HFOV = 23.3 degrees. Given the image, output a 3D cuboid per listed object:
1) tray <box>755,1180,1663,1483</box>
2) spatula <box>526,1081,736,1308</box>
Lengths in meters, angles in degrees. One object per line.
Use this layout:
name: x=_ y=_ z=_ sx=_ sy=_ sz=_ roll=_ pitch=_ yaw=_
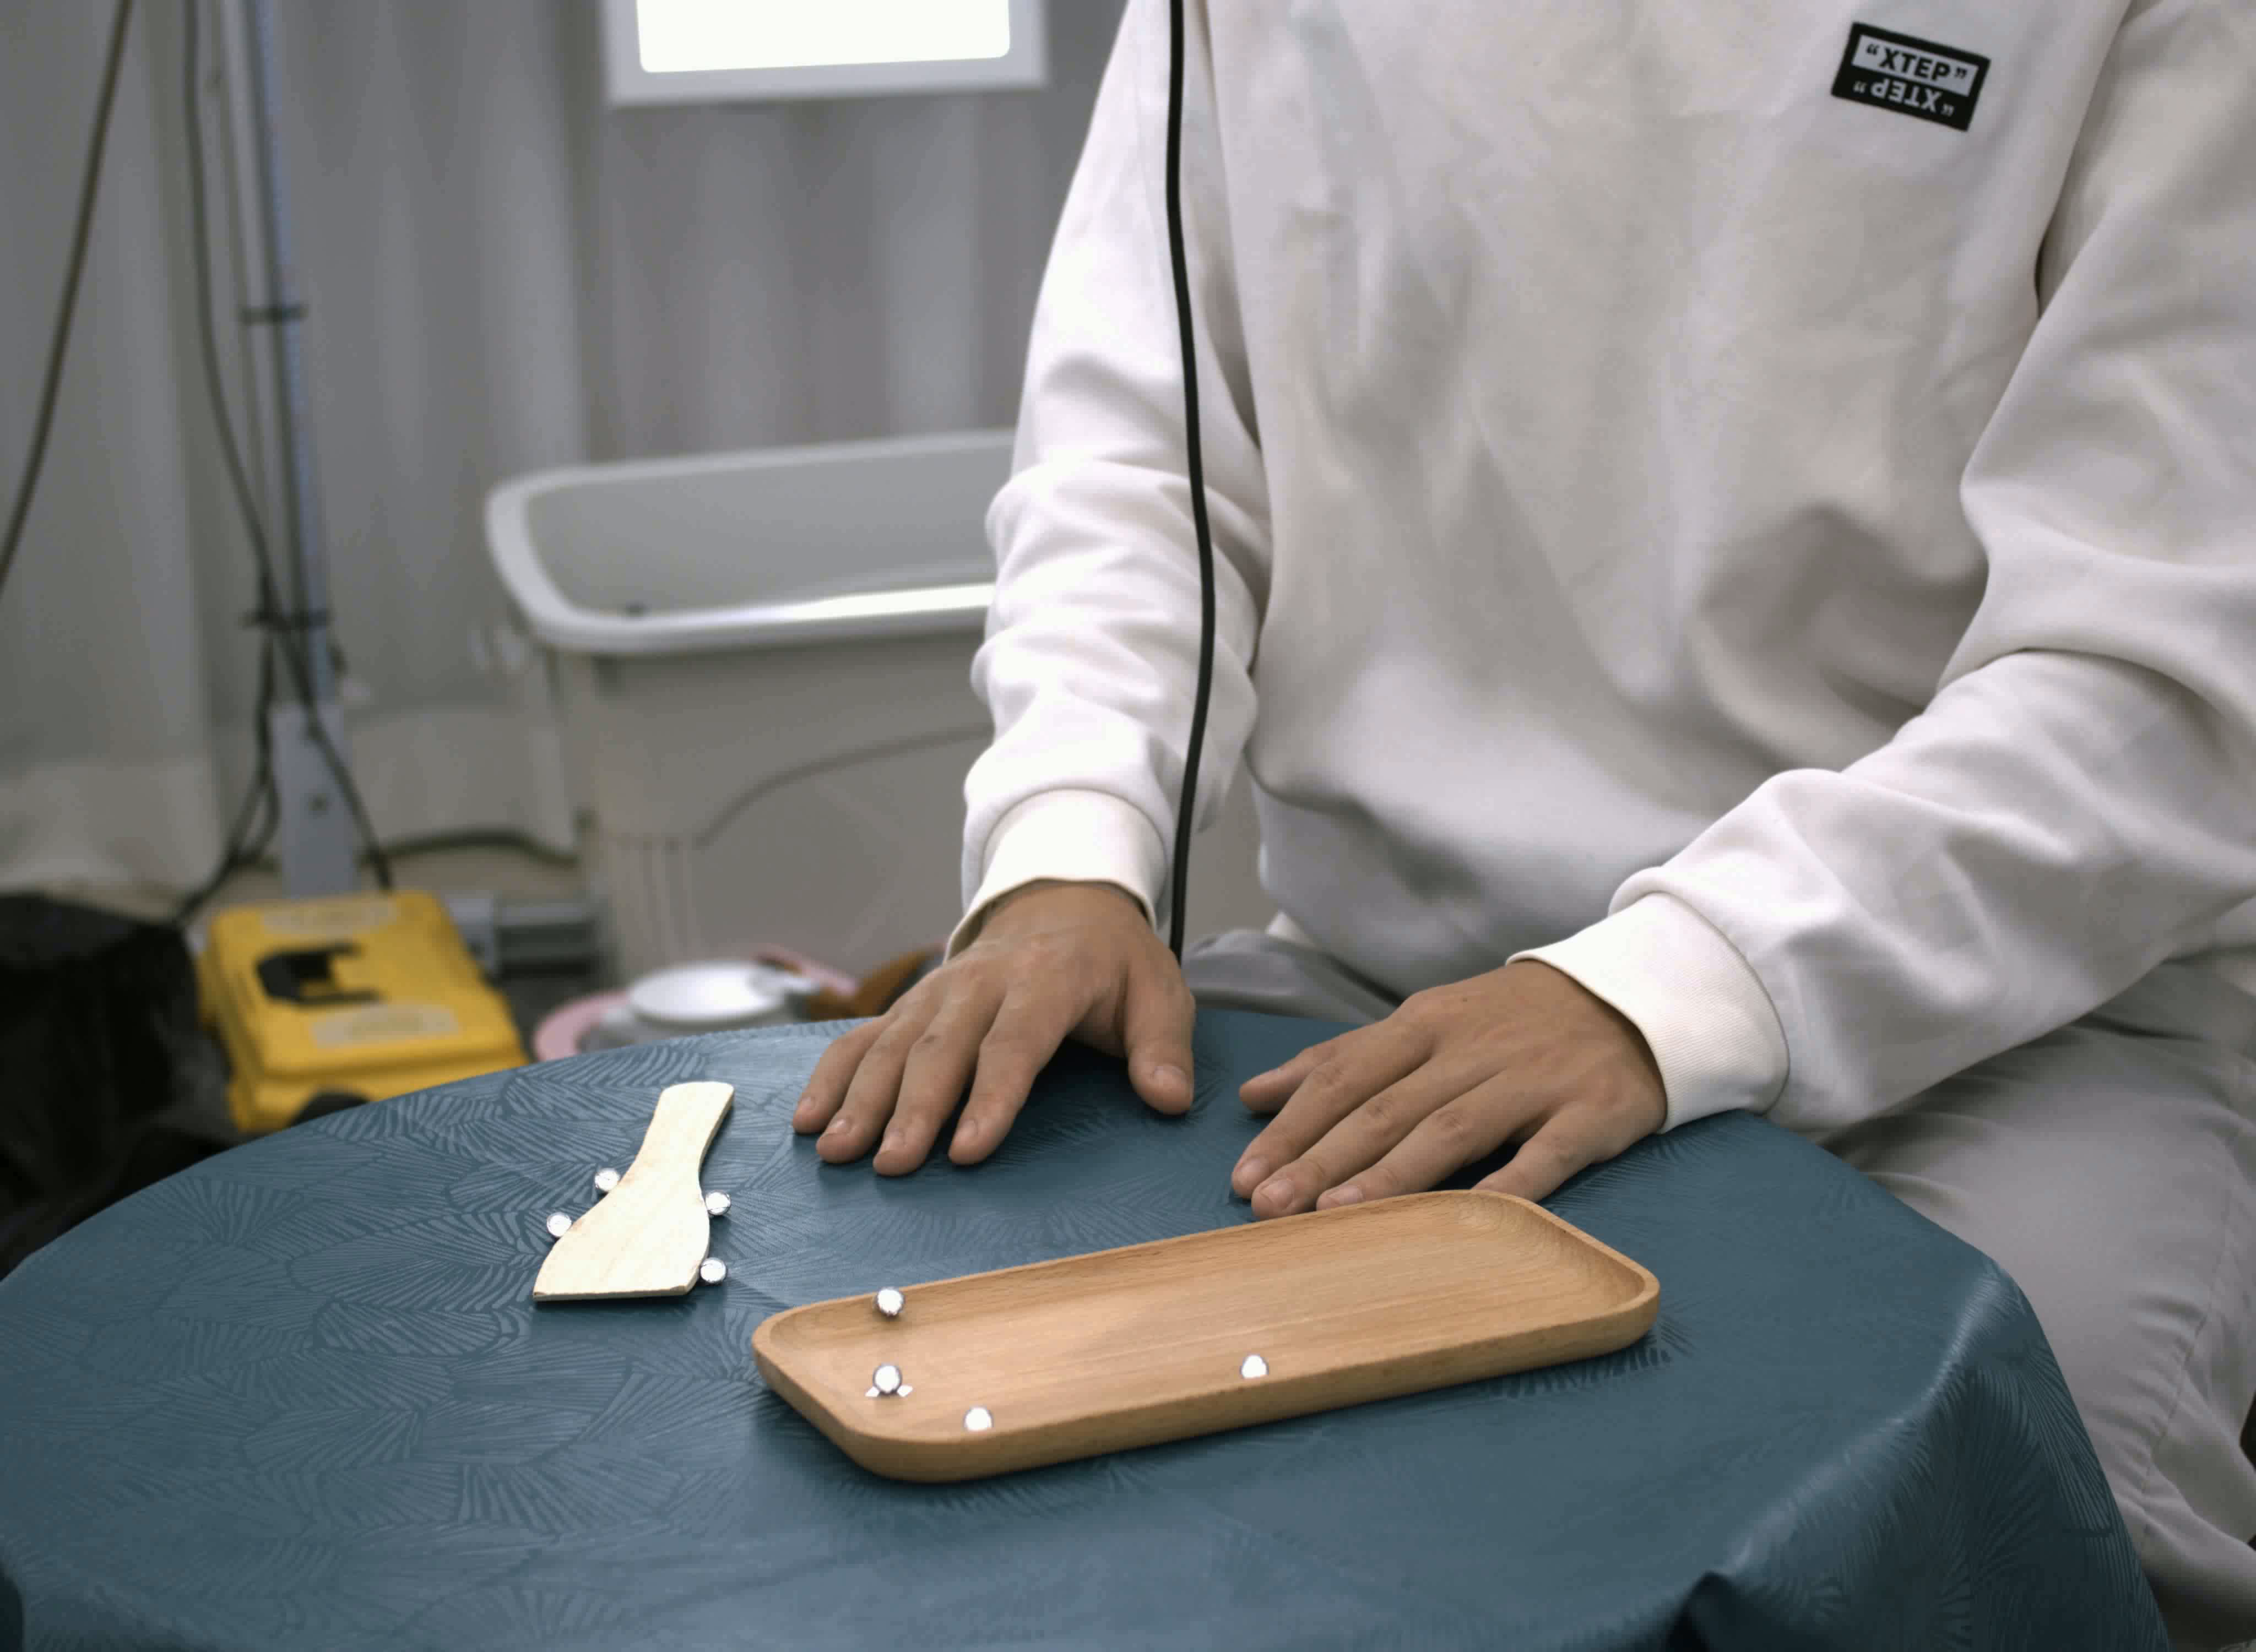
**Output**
tray: x=0.024 y=0.144 z=1.569 sx=0.249 sy=0.023 sz=0.132 roll=-8 pitch=18 yaw=-22
spatula: x=-0.148 y=0.115 z=1.728 sx=0.050 sy=0.005 sz=0.209 roll=-1 pitch=16 yaw=5
